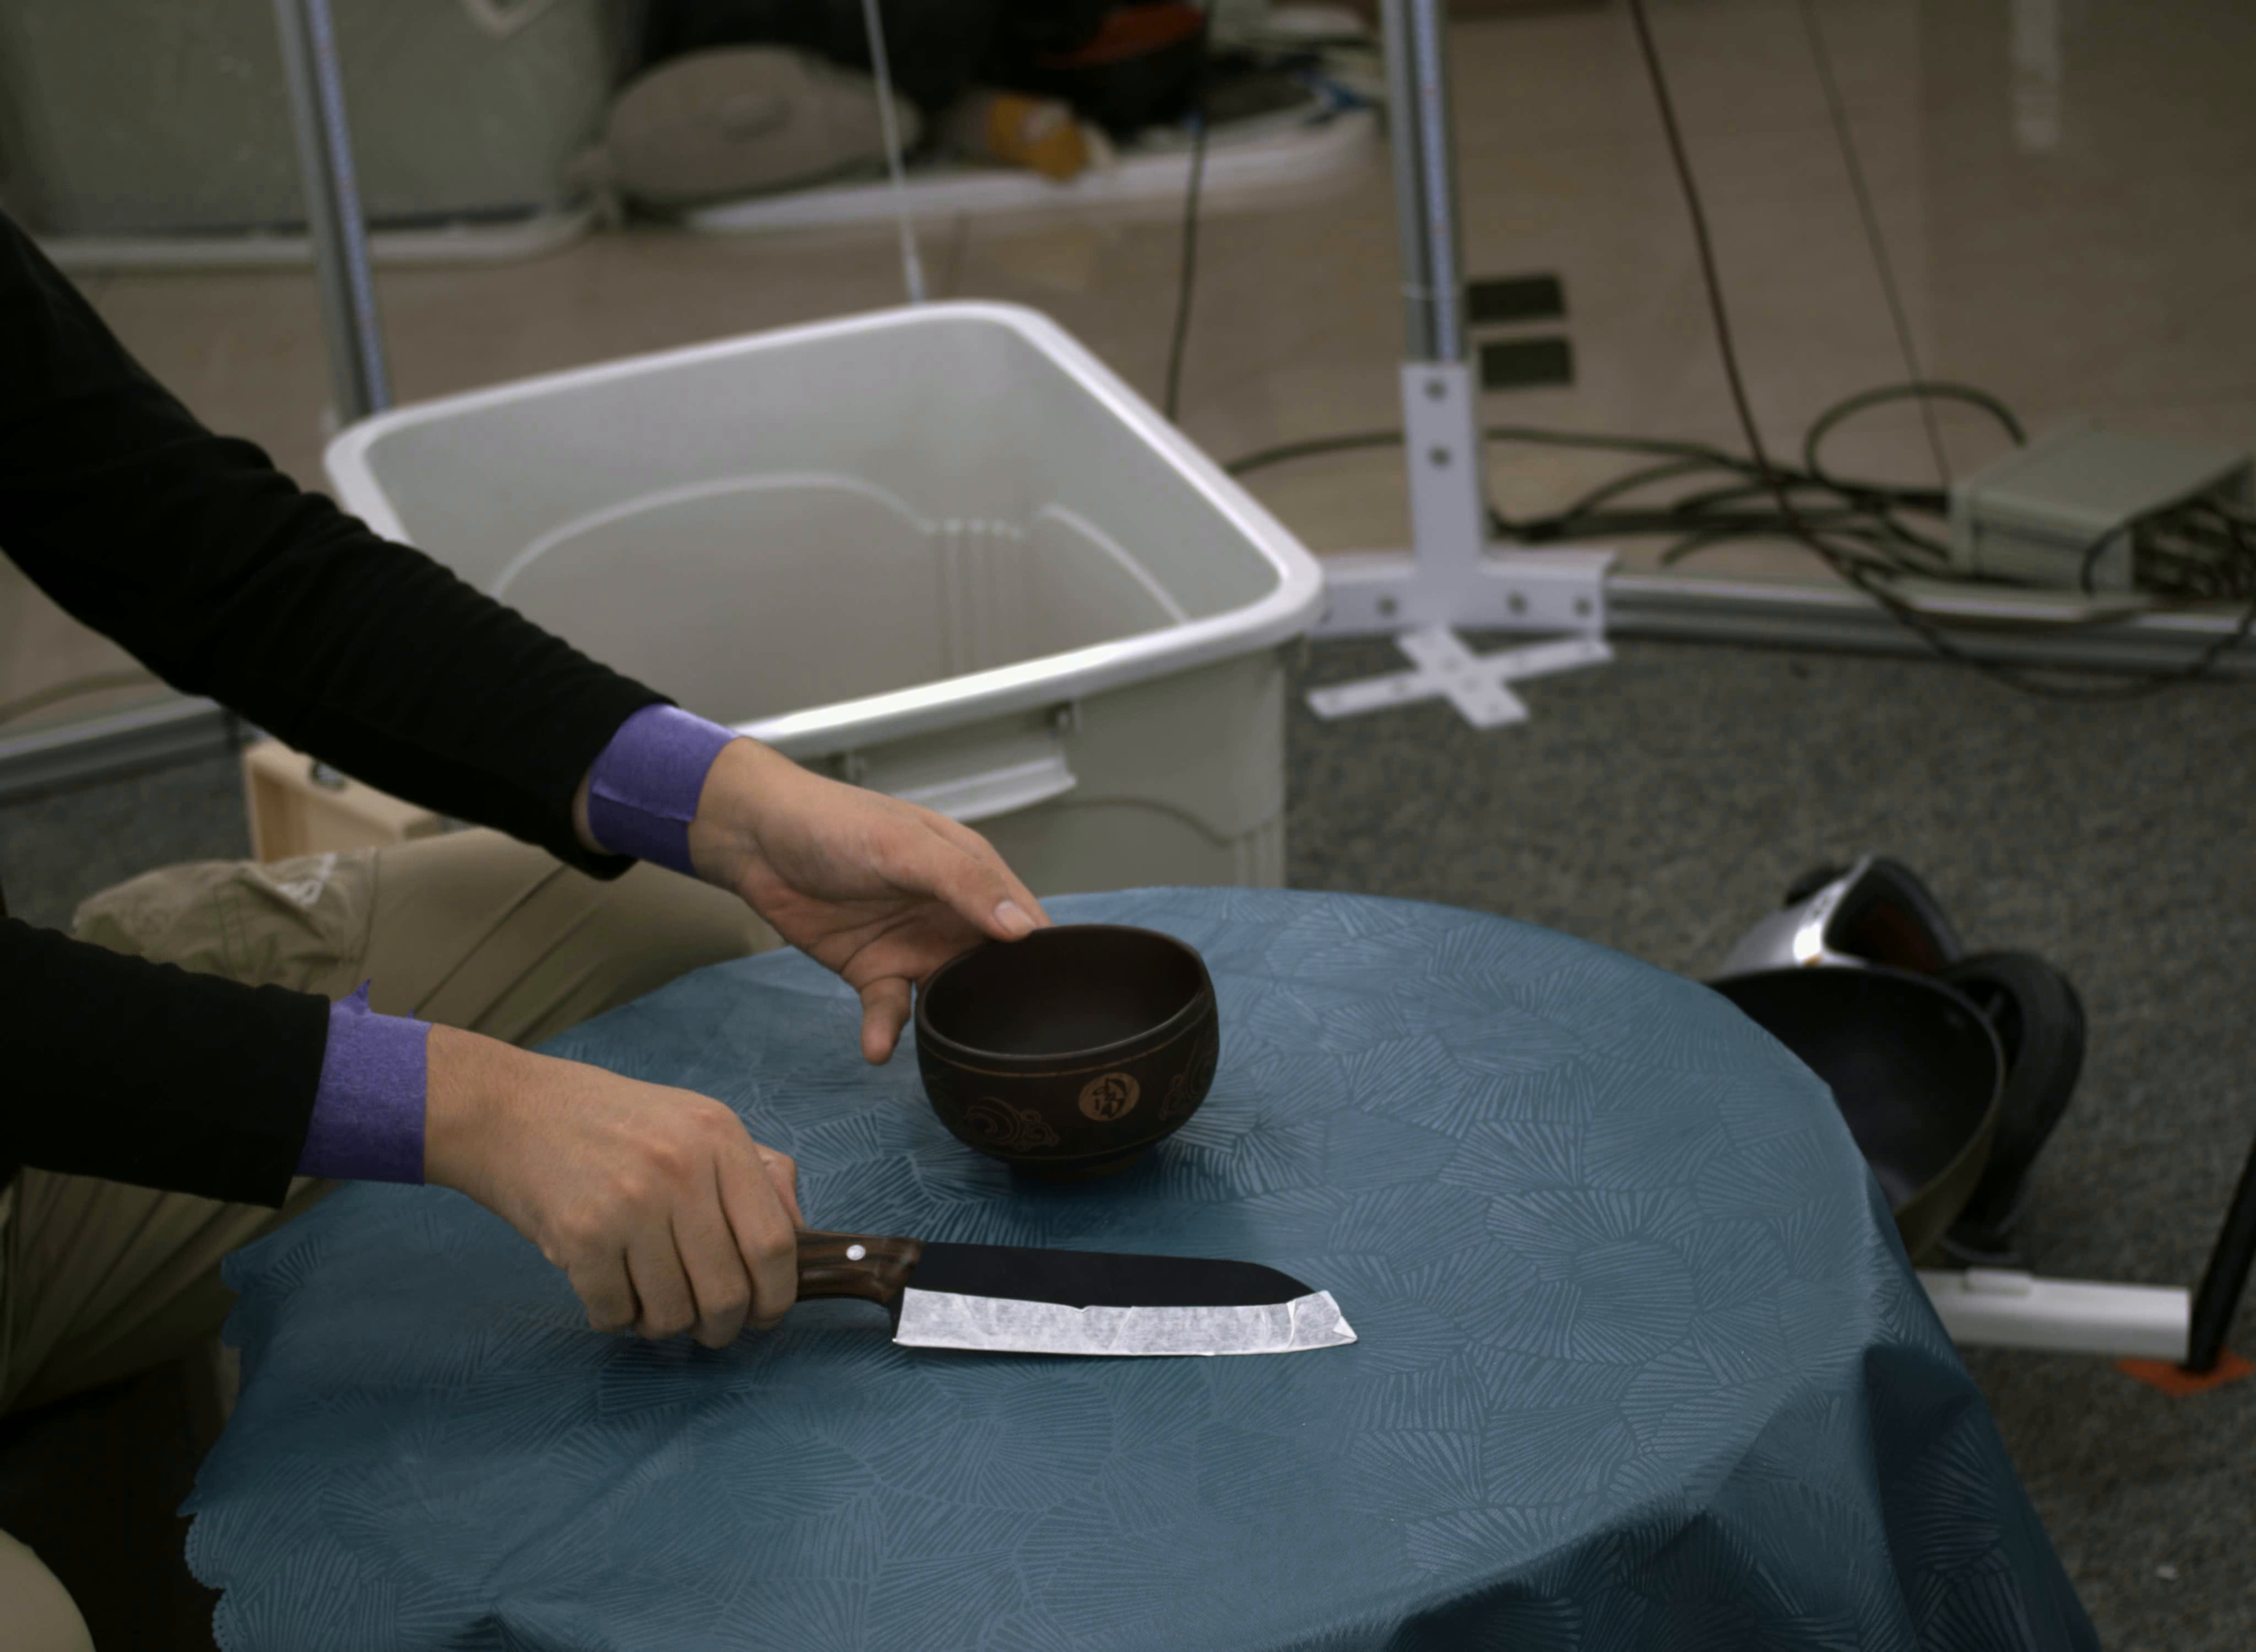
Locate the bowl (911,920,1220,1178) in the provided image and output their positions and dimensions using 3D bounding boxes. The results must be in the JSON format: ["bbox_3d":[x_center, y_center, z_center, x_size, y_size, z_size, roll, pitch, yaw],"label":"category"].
[{"bbox_3d":[-0.022,0.091,2.170,0.118,0.071,0.116,-6,25,3],"label":"bowl"}]

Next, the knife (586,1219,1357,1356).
[{"bbox_3d":[-0.059,0.168,2.060,0.288,0.020,0.049,5,56,10],"label":"knife"}]
